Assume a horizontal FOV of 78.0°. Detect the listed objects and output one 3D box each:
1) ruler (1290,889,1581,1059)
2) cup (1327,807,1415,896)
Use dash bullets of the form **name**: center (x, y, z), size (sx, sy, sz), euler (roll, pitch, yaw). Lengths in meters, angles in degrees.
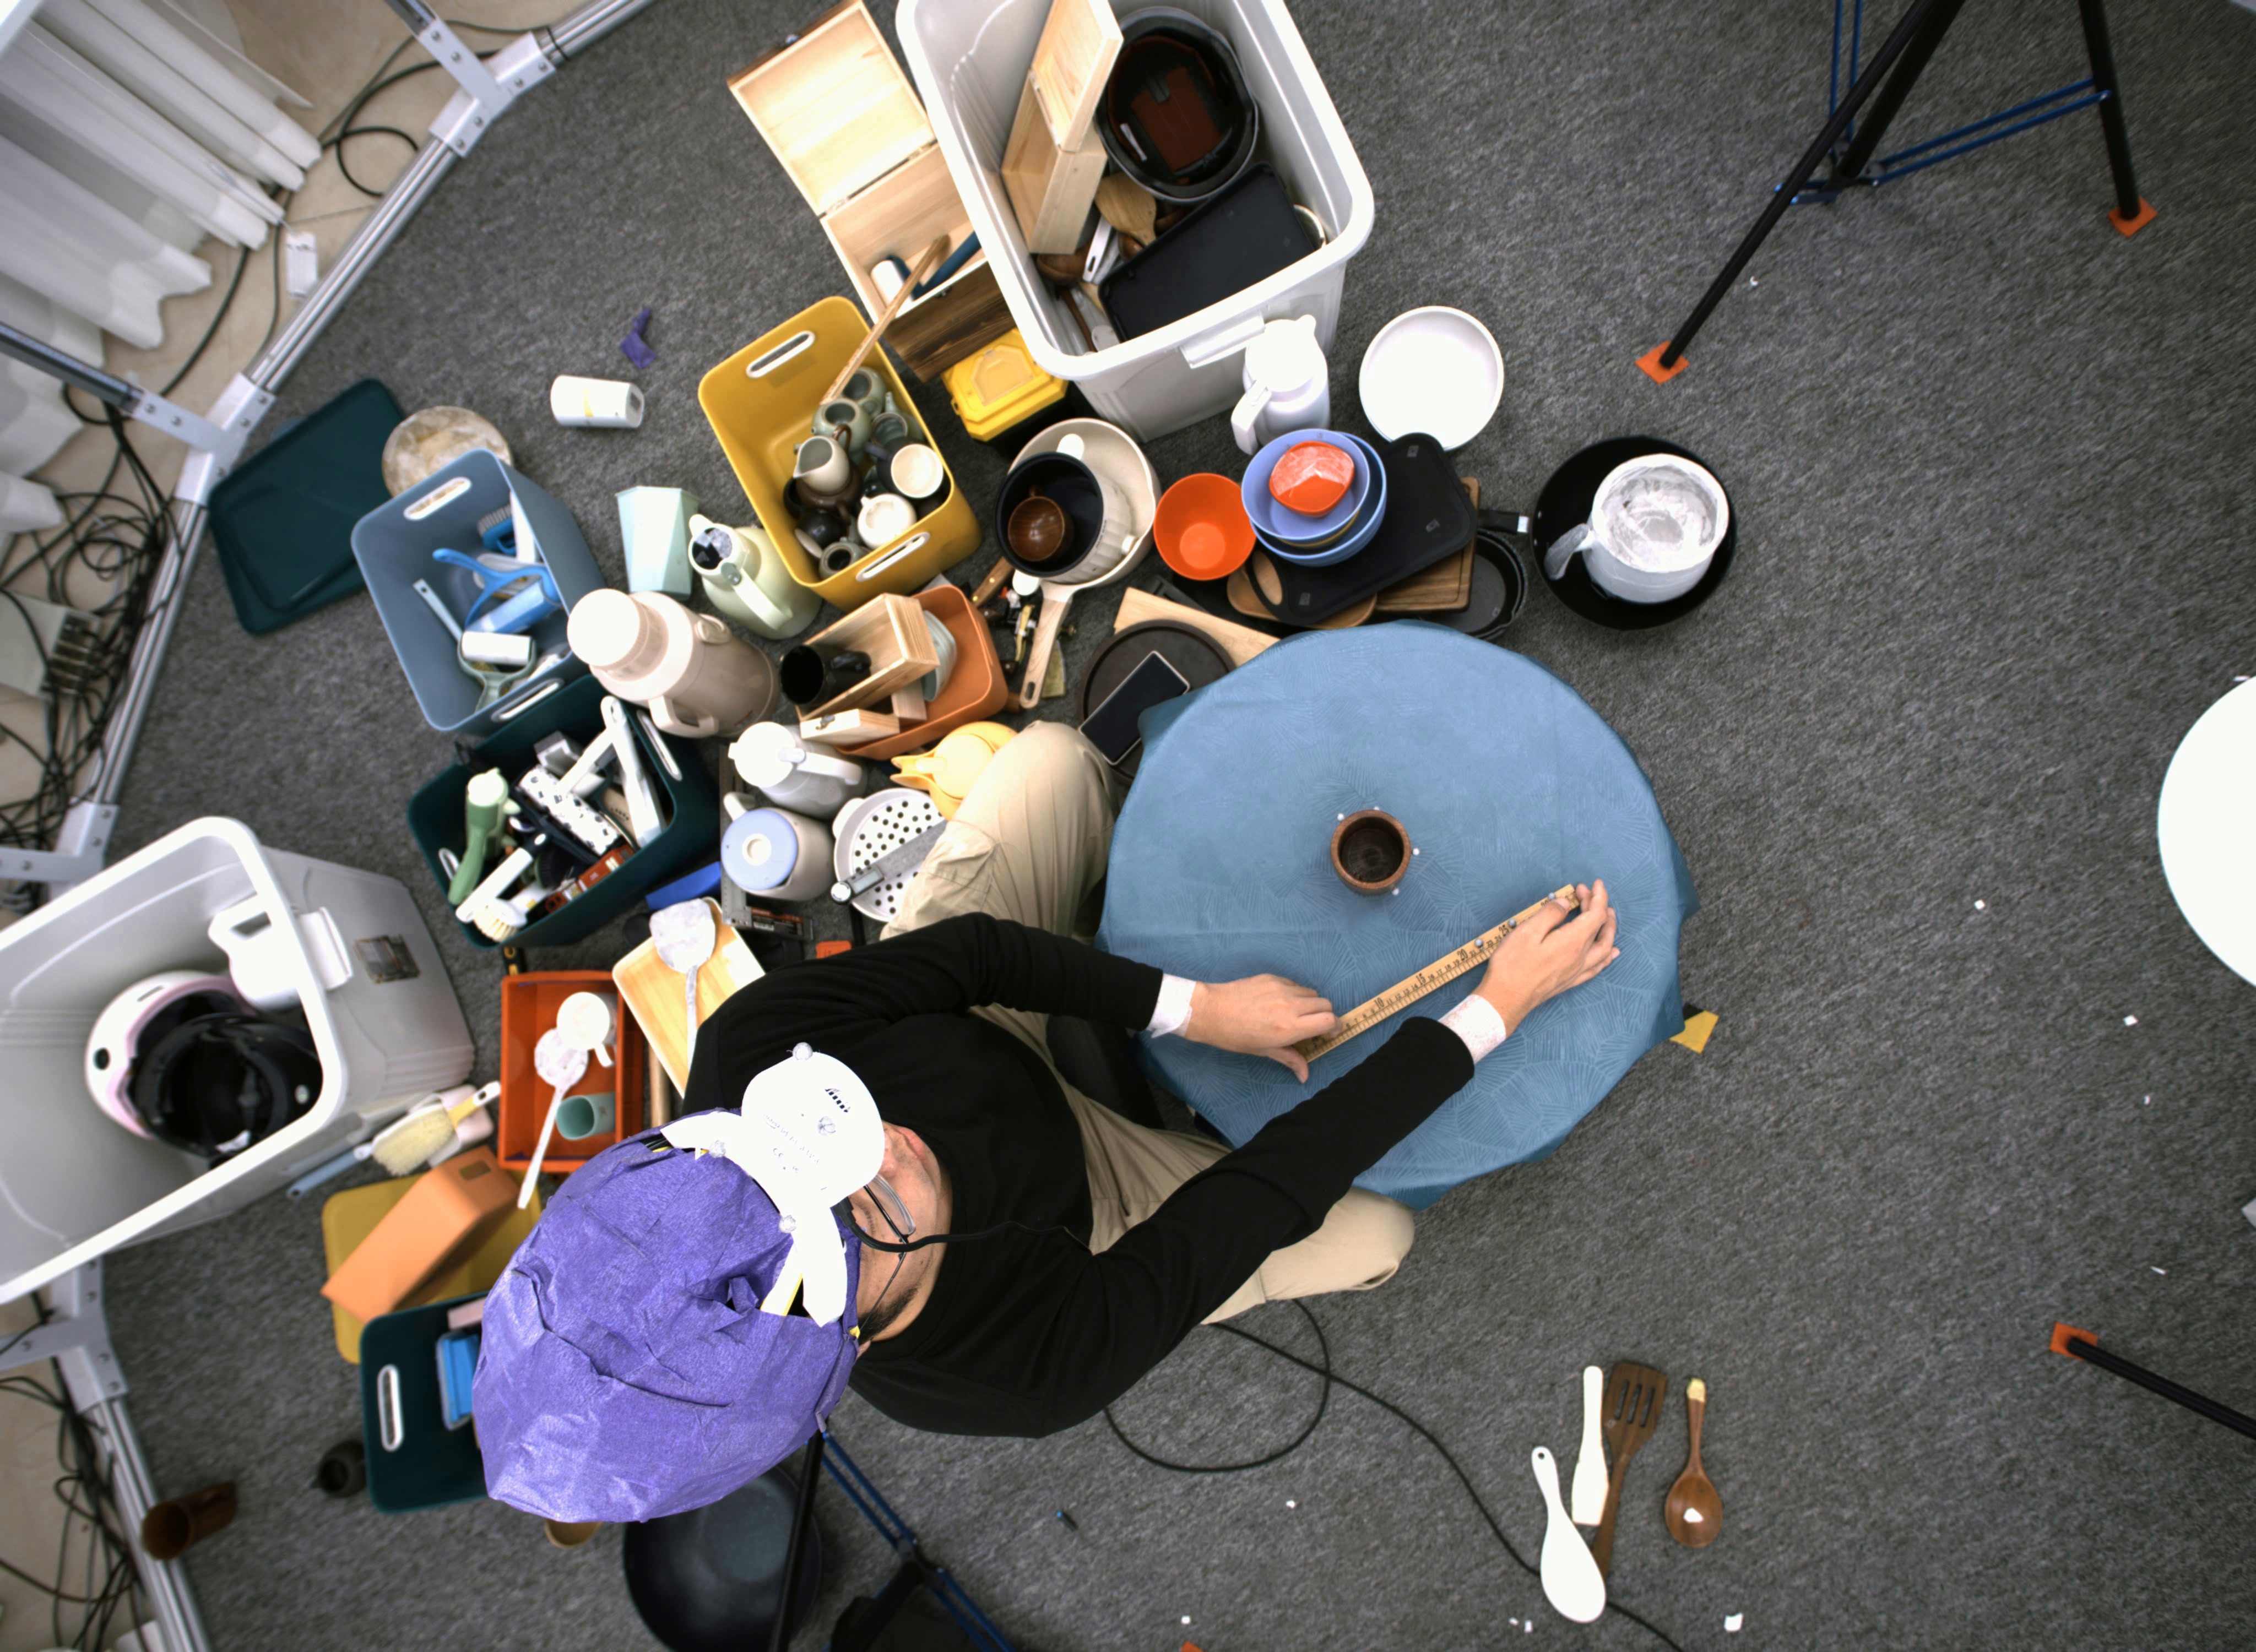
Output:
- **ruler**: center (0.318, 0.152, 1.438), size (0.334, 0.022, 0.027), euler (-30, 58, 8)
- **cup**: center (0.249, 0.027, 1.407), size (0.088, 0.118, 0.087), euler (-1, 84, 11)
